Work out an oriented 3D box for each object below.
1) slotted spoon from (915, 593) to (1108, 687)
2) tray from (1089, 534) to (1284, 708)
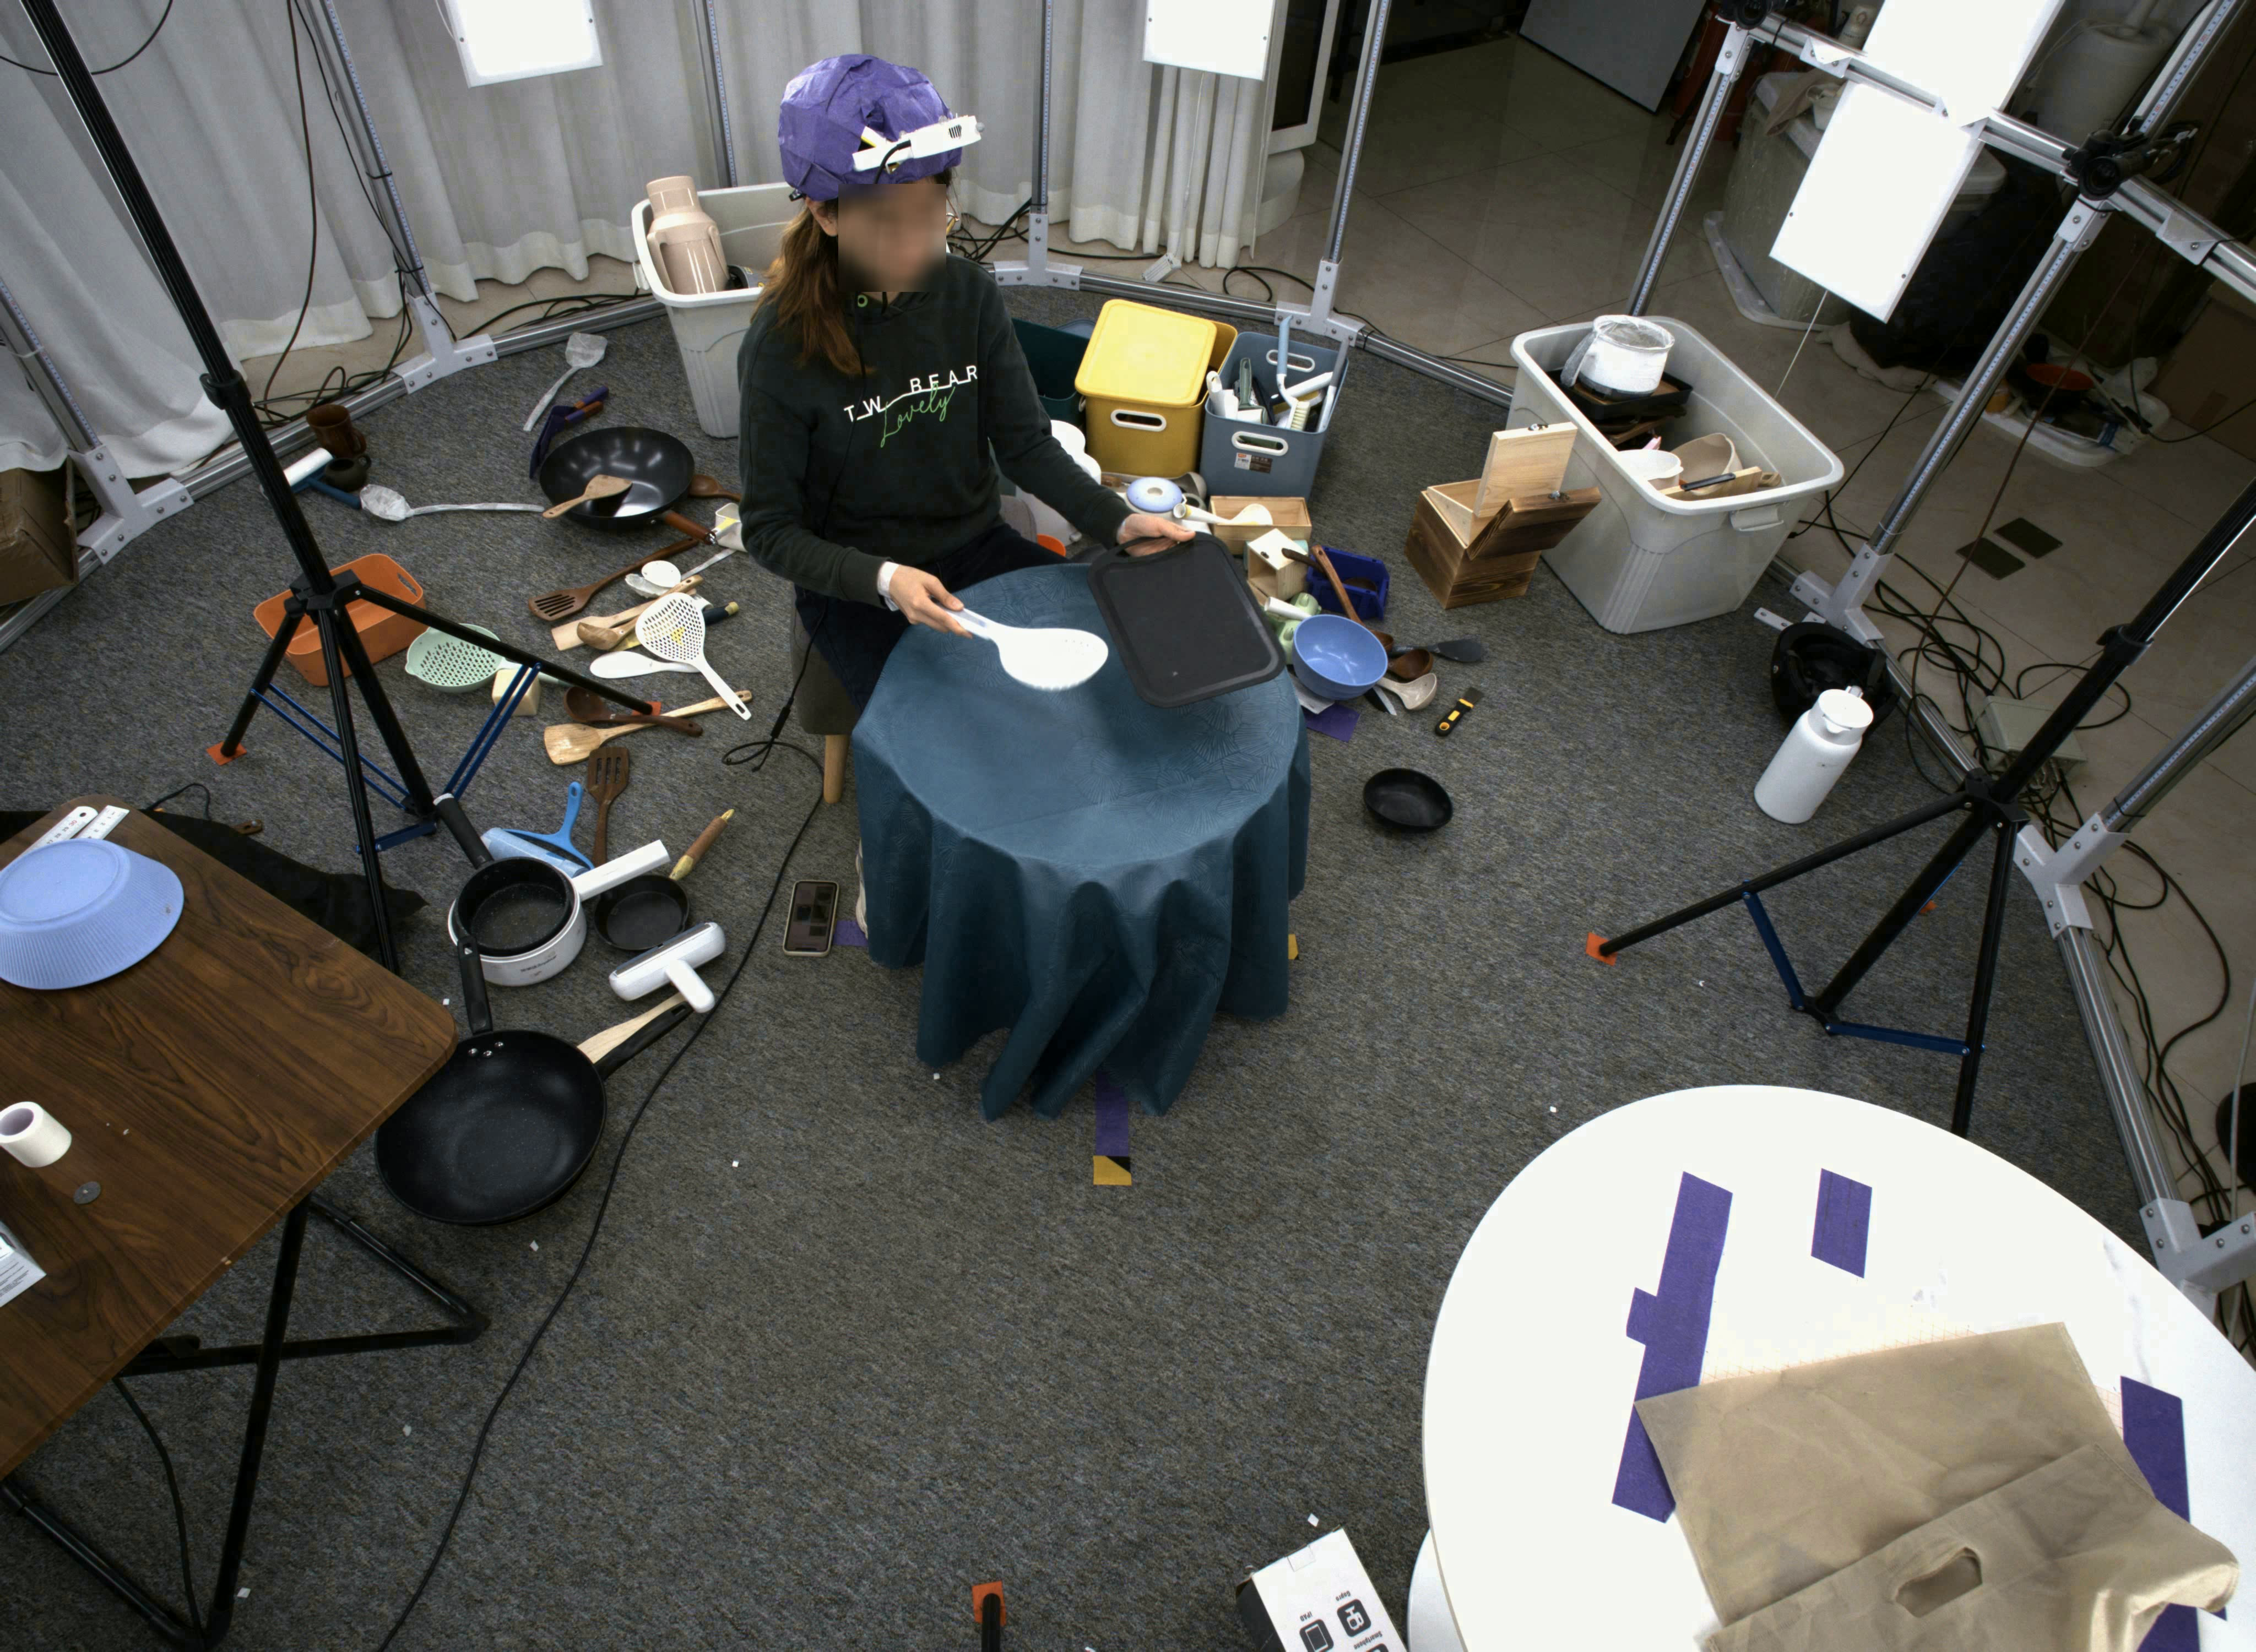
[{"bbox_3d":[-0.171,-0.260,1.744,0.355,0.044,0.137,31,46,34],"label":"slotted spoon"},{"bbox_3d":[0.073,-0.296,1.786,0.211,0.009,0.333,-16,53,-8],"label":"tray"}]
